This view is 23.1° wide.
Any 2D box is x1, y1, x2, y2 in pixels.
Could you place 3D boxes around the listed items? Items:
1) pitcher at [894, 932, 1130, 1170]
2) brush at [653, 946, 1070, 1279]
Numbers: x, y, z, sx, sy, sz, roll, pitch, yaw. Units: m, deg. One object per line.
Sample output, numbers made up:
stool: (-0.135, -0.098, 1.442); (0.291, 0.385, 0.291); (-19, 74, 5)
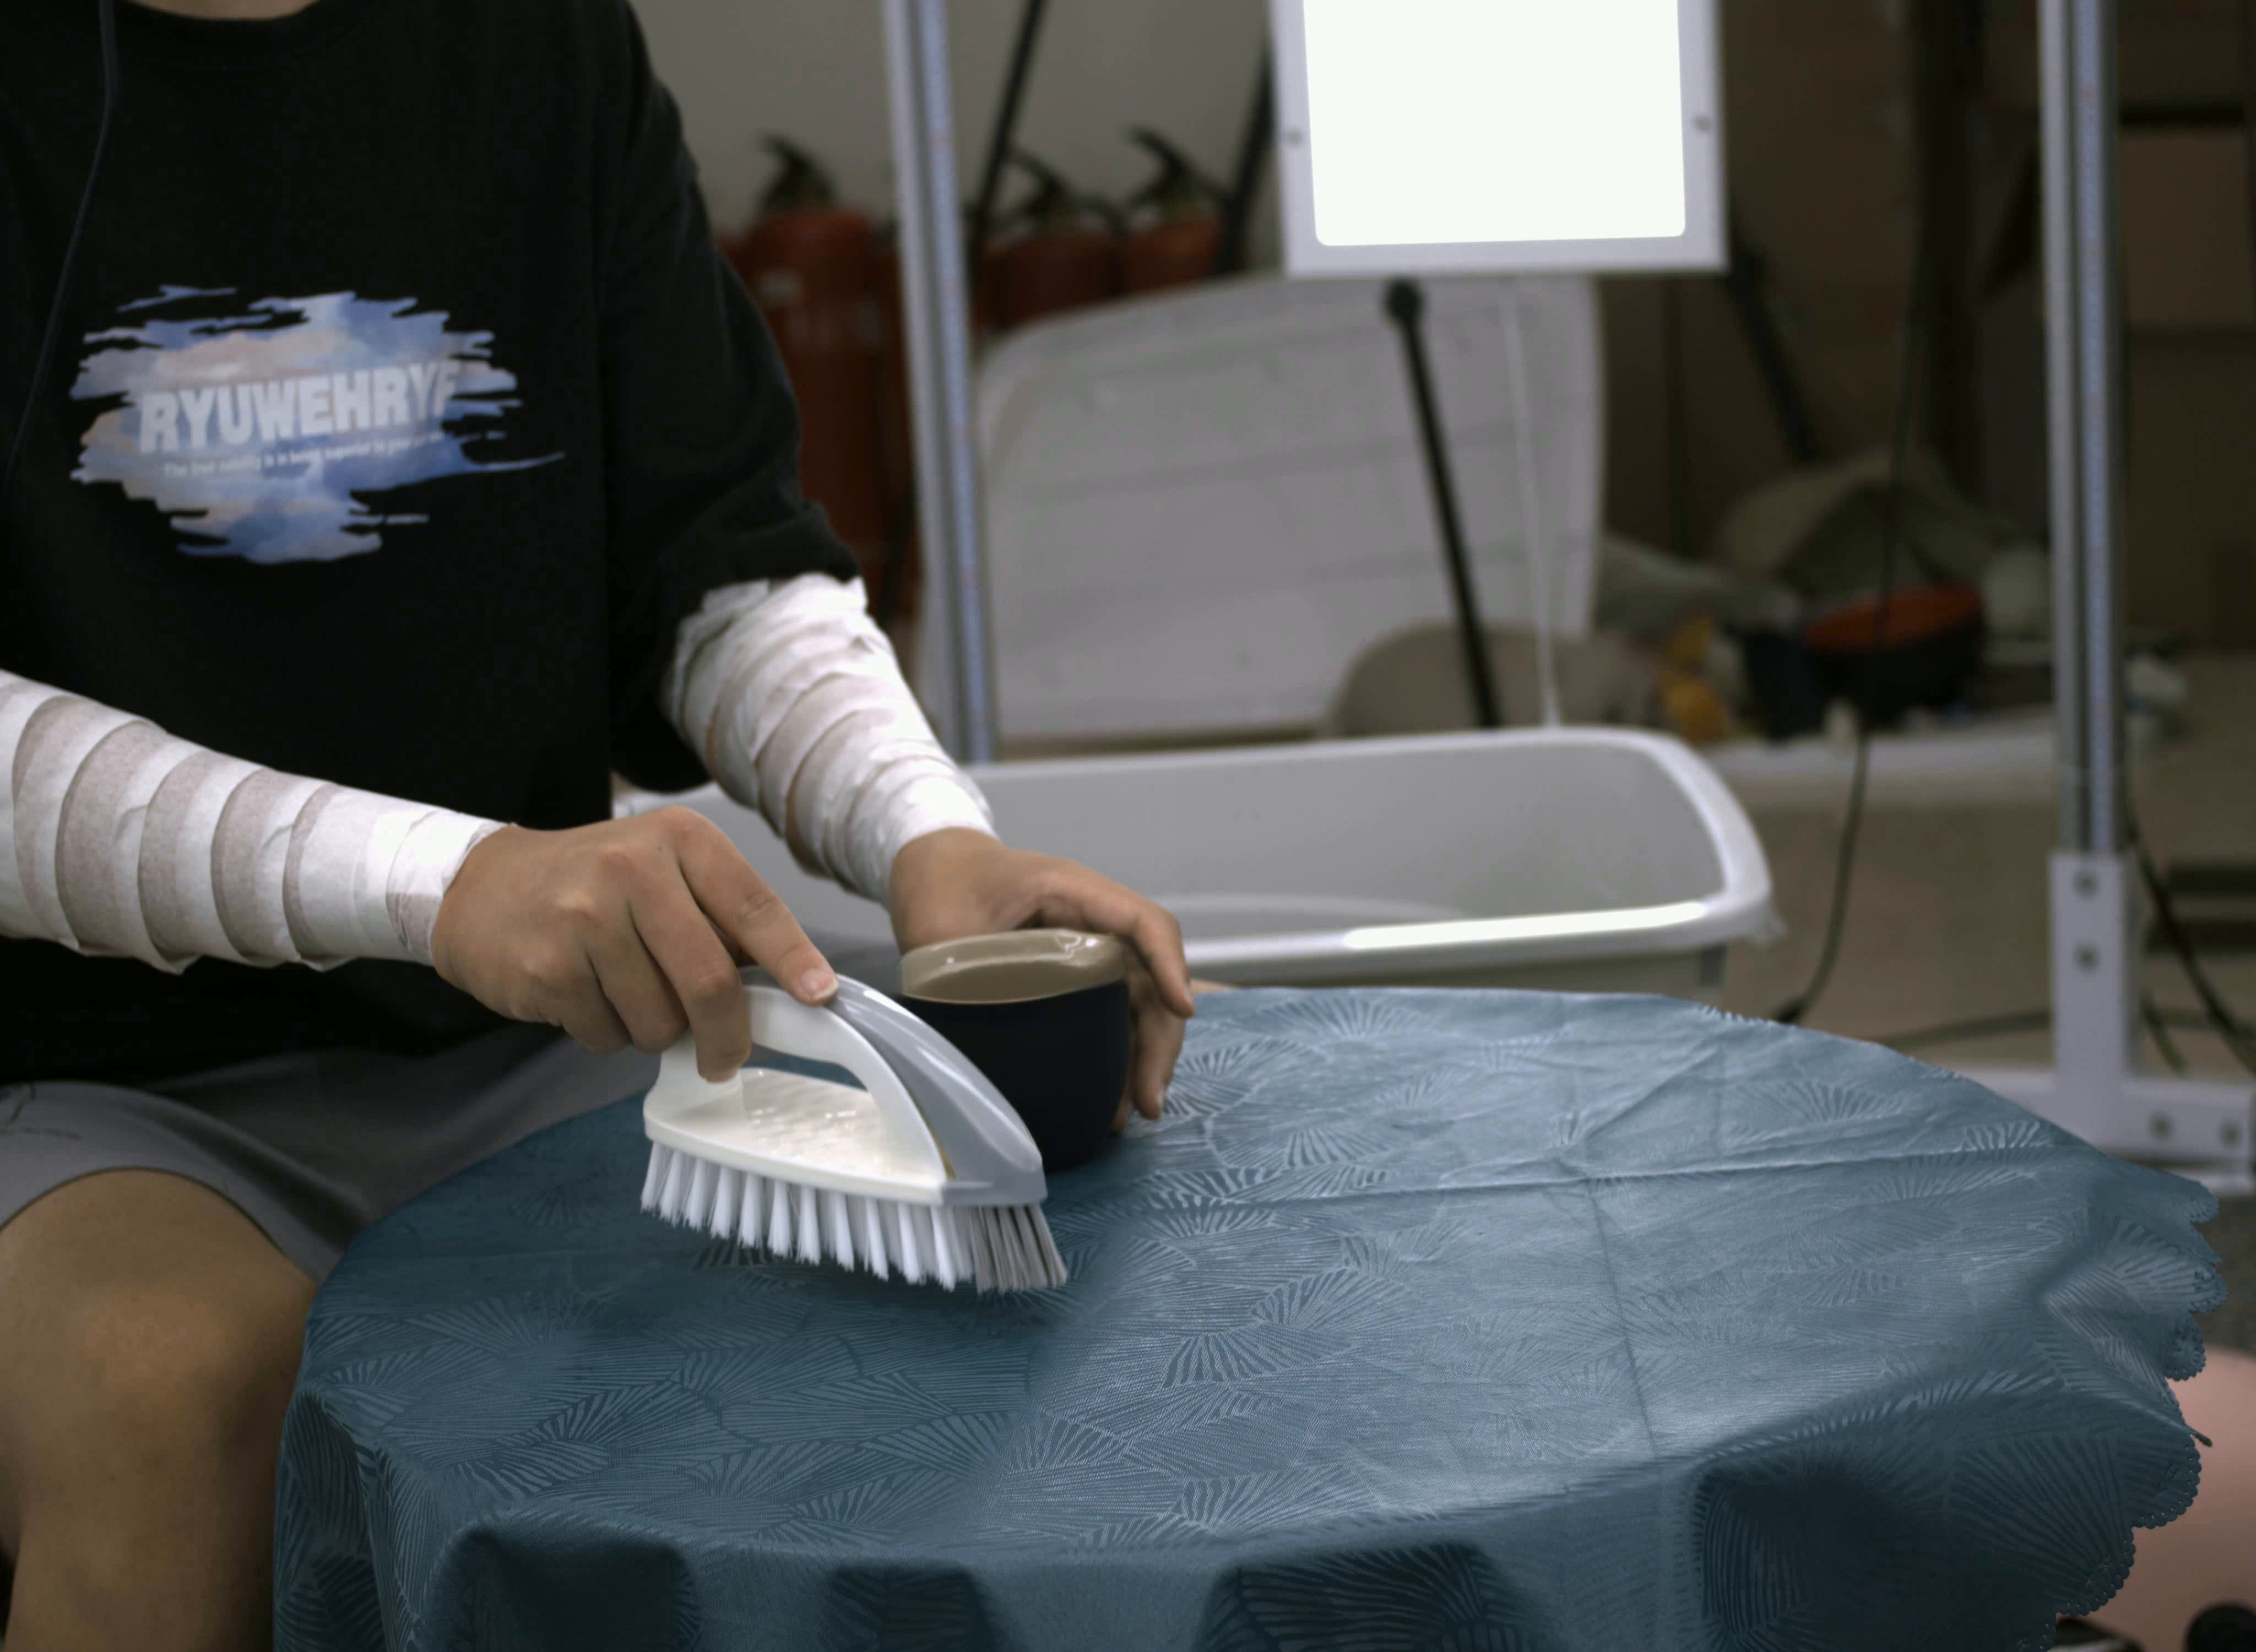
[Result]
pitcher: (-0.036, 0.081, 1.944); (0.085, 0.071, 0.093); (4, 13, 36)
brush: (-0.087, 0.090, 1.812); (0.179, 0.094, 0.060); (15, 31, 43)
